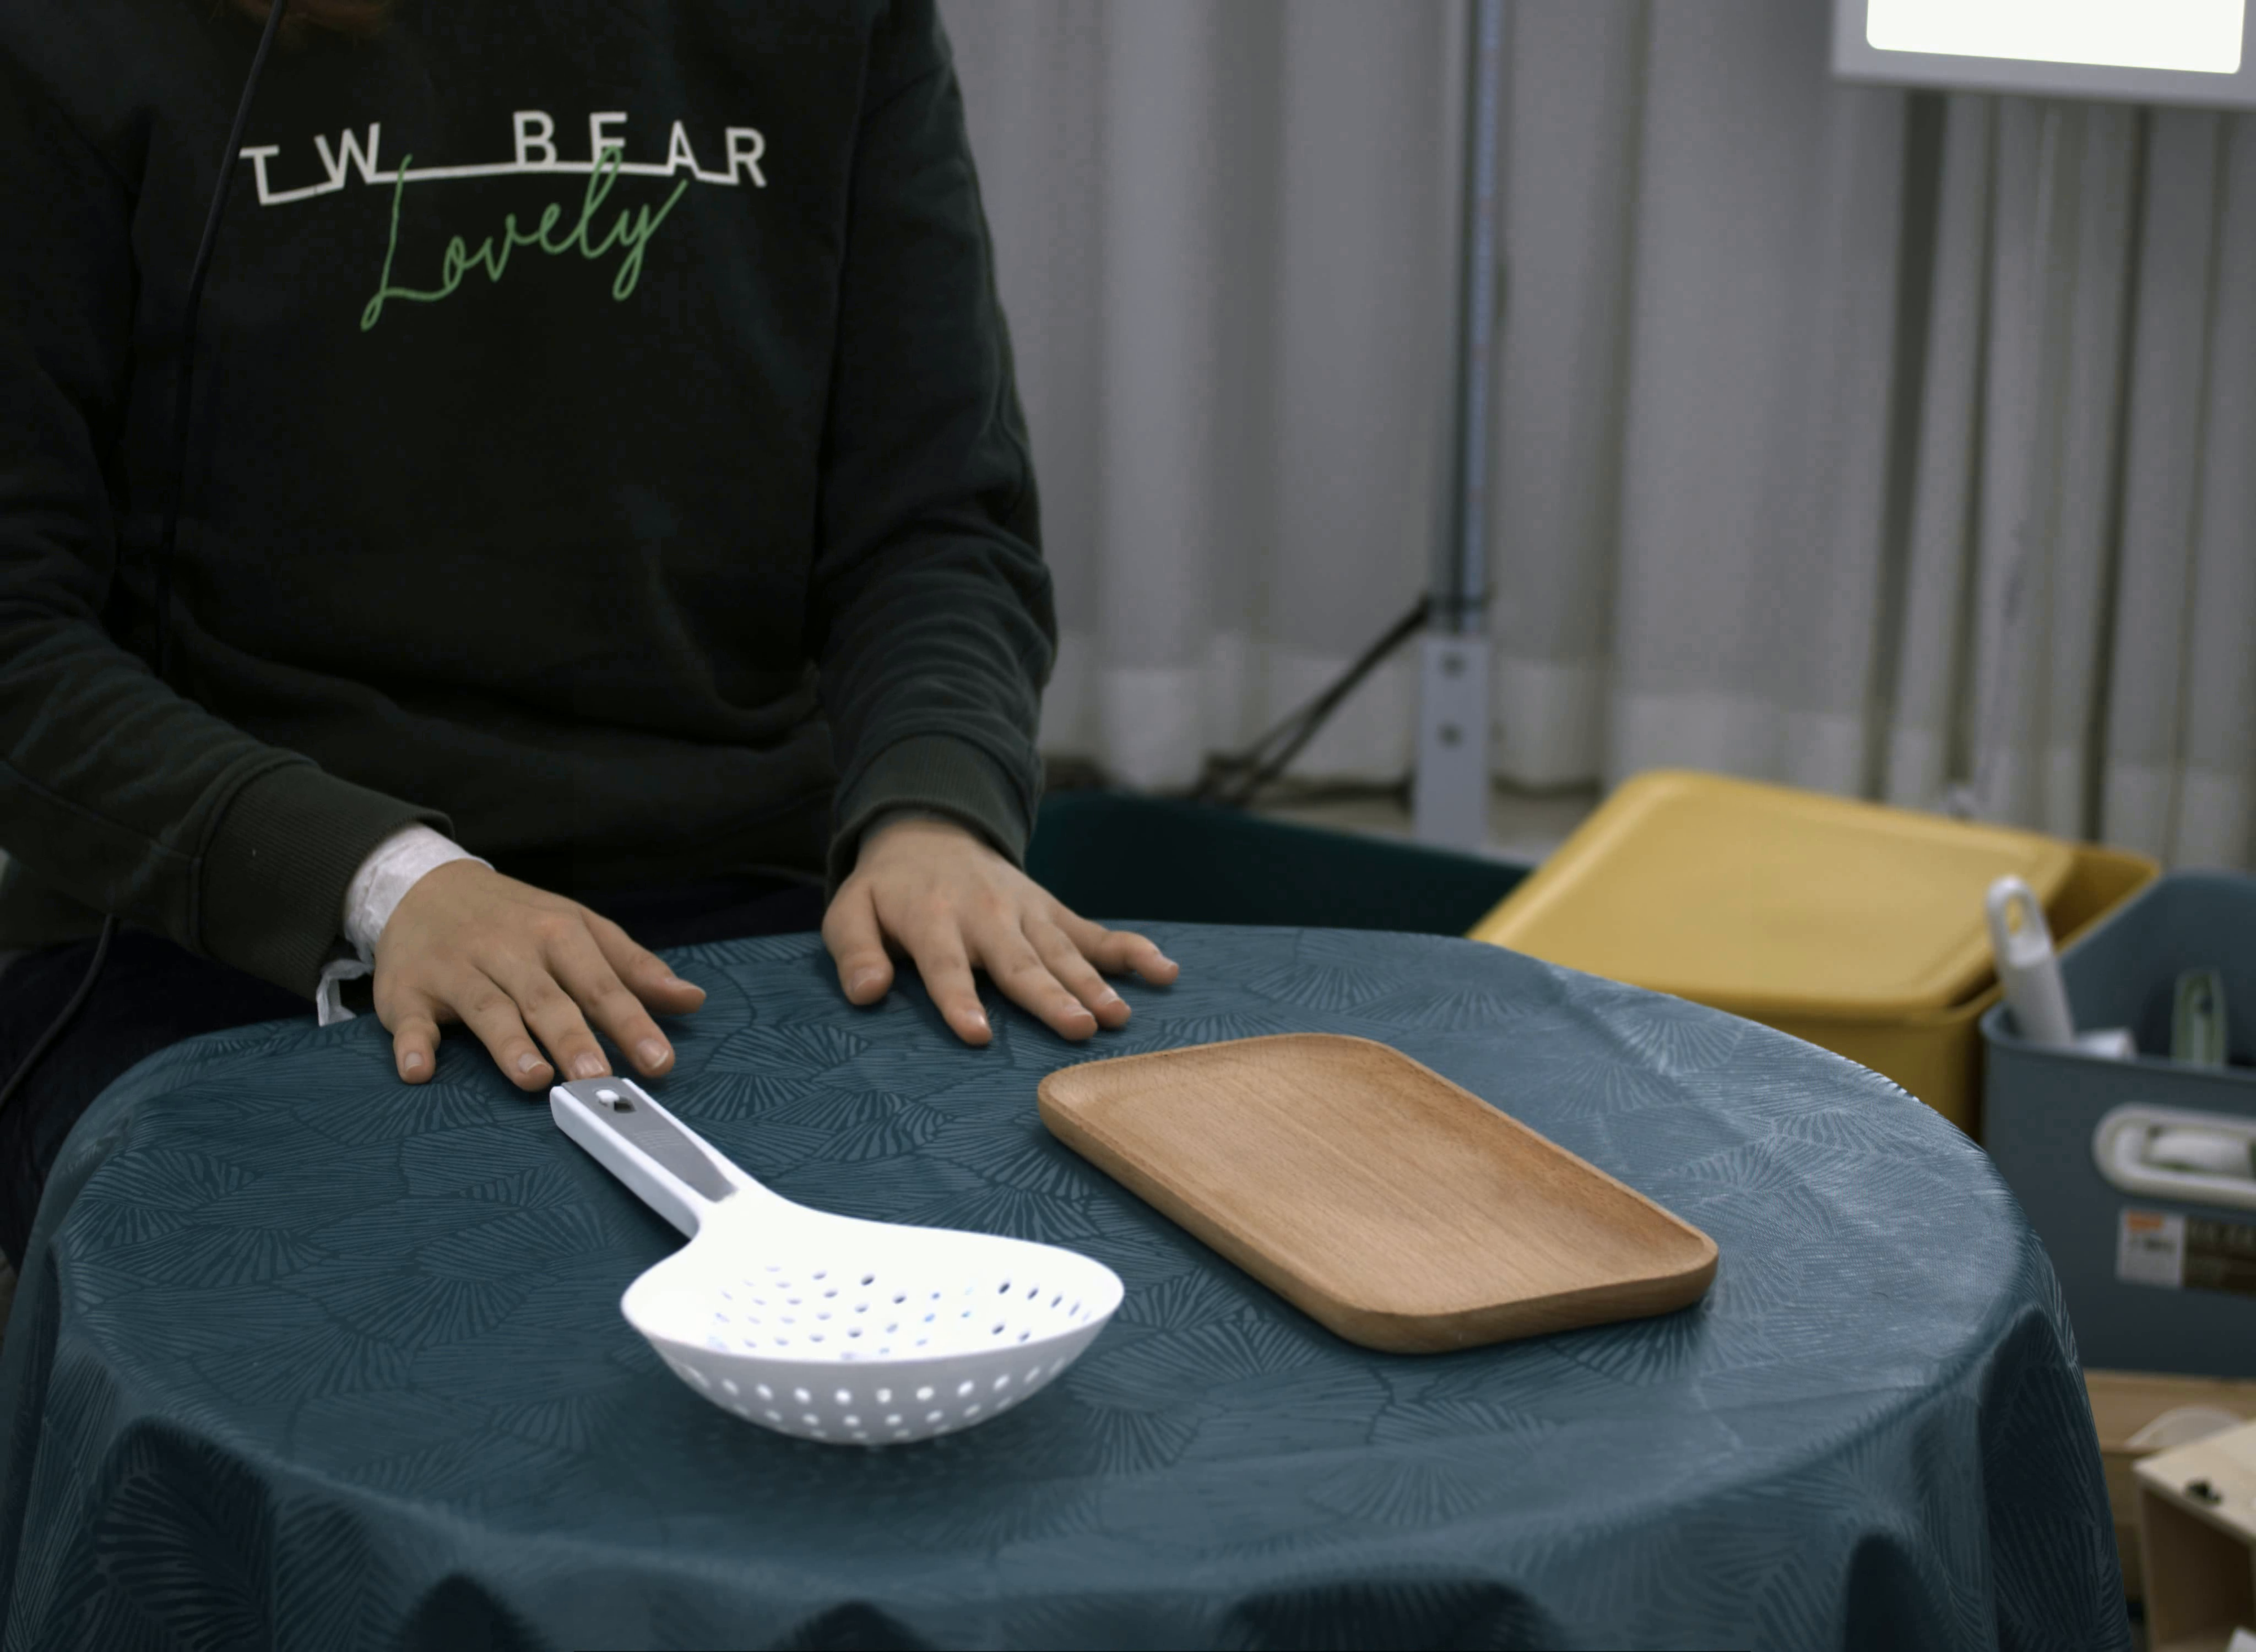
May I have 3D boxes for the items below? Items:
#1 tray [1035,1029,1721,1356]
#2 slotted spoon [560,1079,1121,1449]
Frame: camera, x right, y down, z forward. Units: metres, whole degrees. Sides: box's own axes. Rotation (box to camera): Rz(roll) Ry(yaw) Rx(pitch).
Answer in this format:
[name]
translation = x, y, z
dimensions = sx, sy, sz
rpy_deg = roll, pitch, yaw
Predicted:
[tray]
translation = 0.072, 0.109, 1.611
dimensions = 0.131, 0.023, 0.247
rpy_deg = -5, 16, -25
[slotted spoon]
translation = -0.109, 0.117, 1.523
dimensions = 0.136, 0.046, 0.346
rpy_deg = -3, 15, -21
